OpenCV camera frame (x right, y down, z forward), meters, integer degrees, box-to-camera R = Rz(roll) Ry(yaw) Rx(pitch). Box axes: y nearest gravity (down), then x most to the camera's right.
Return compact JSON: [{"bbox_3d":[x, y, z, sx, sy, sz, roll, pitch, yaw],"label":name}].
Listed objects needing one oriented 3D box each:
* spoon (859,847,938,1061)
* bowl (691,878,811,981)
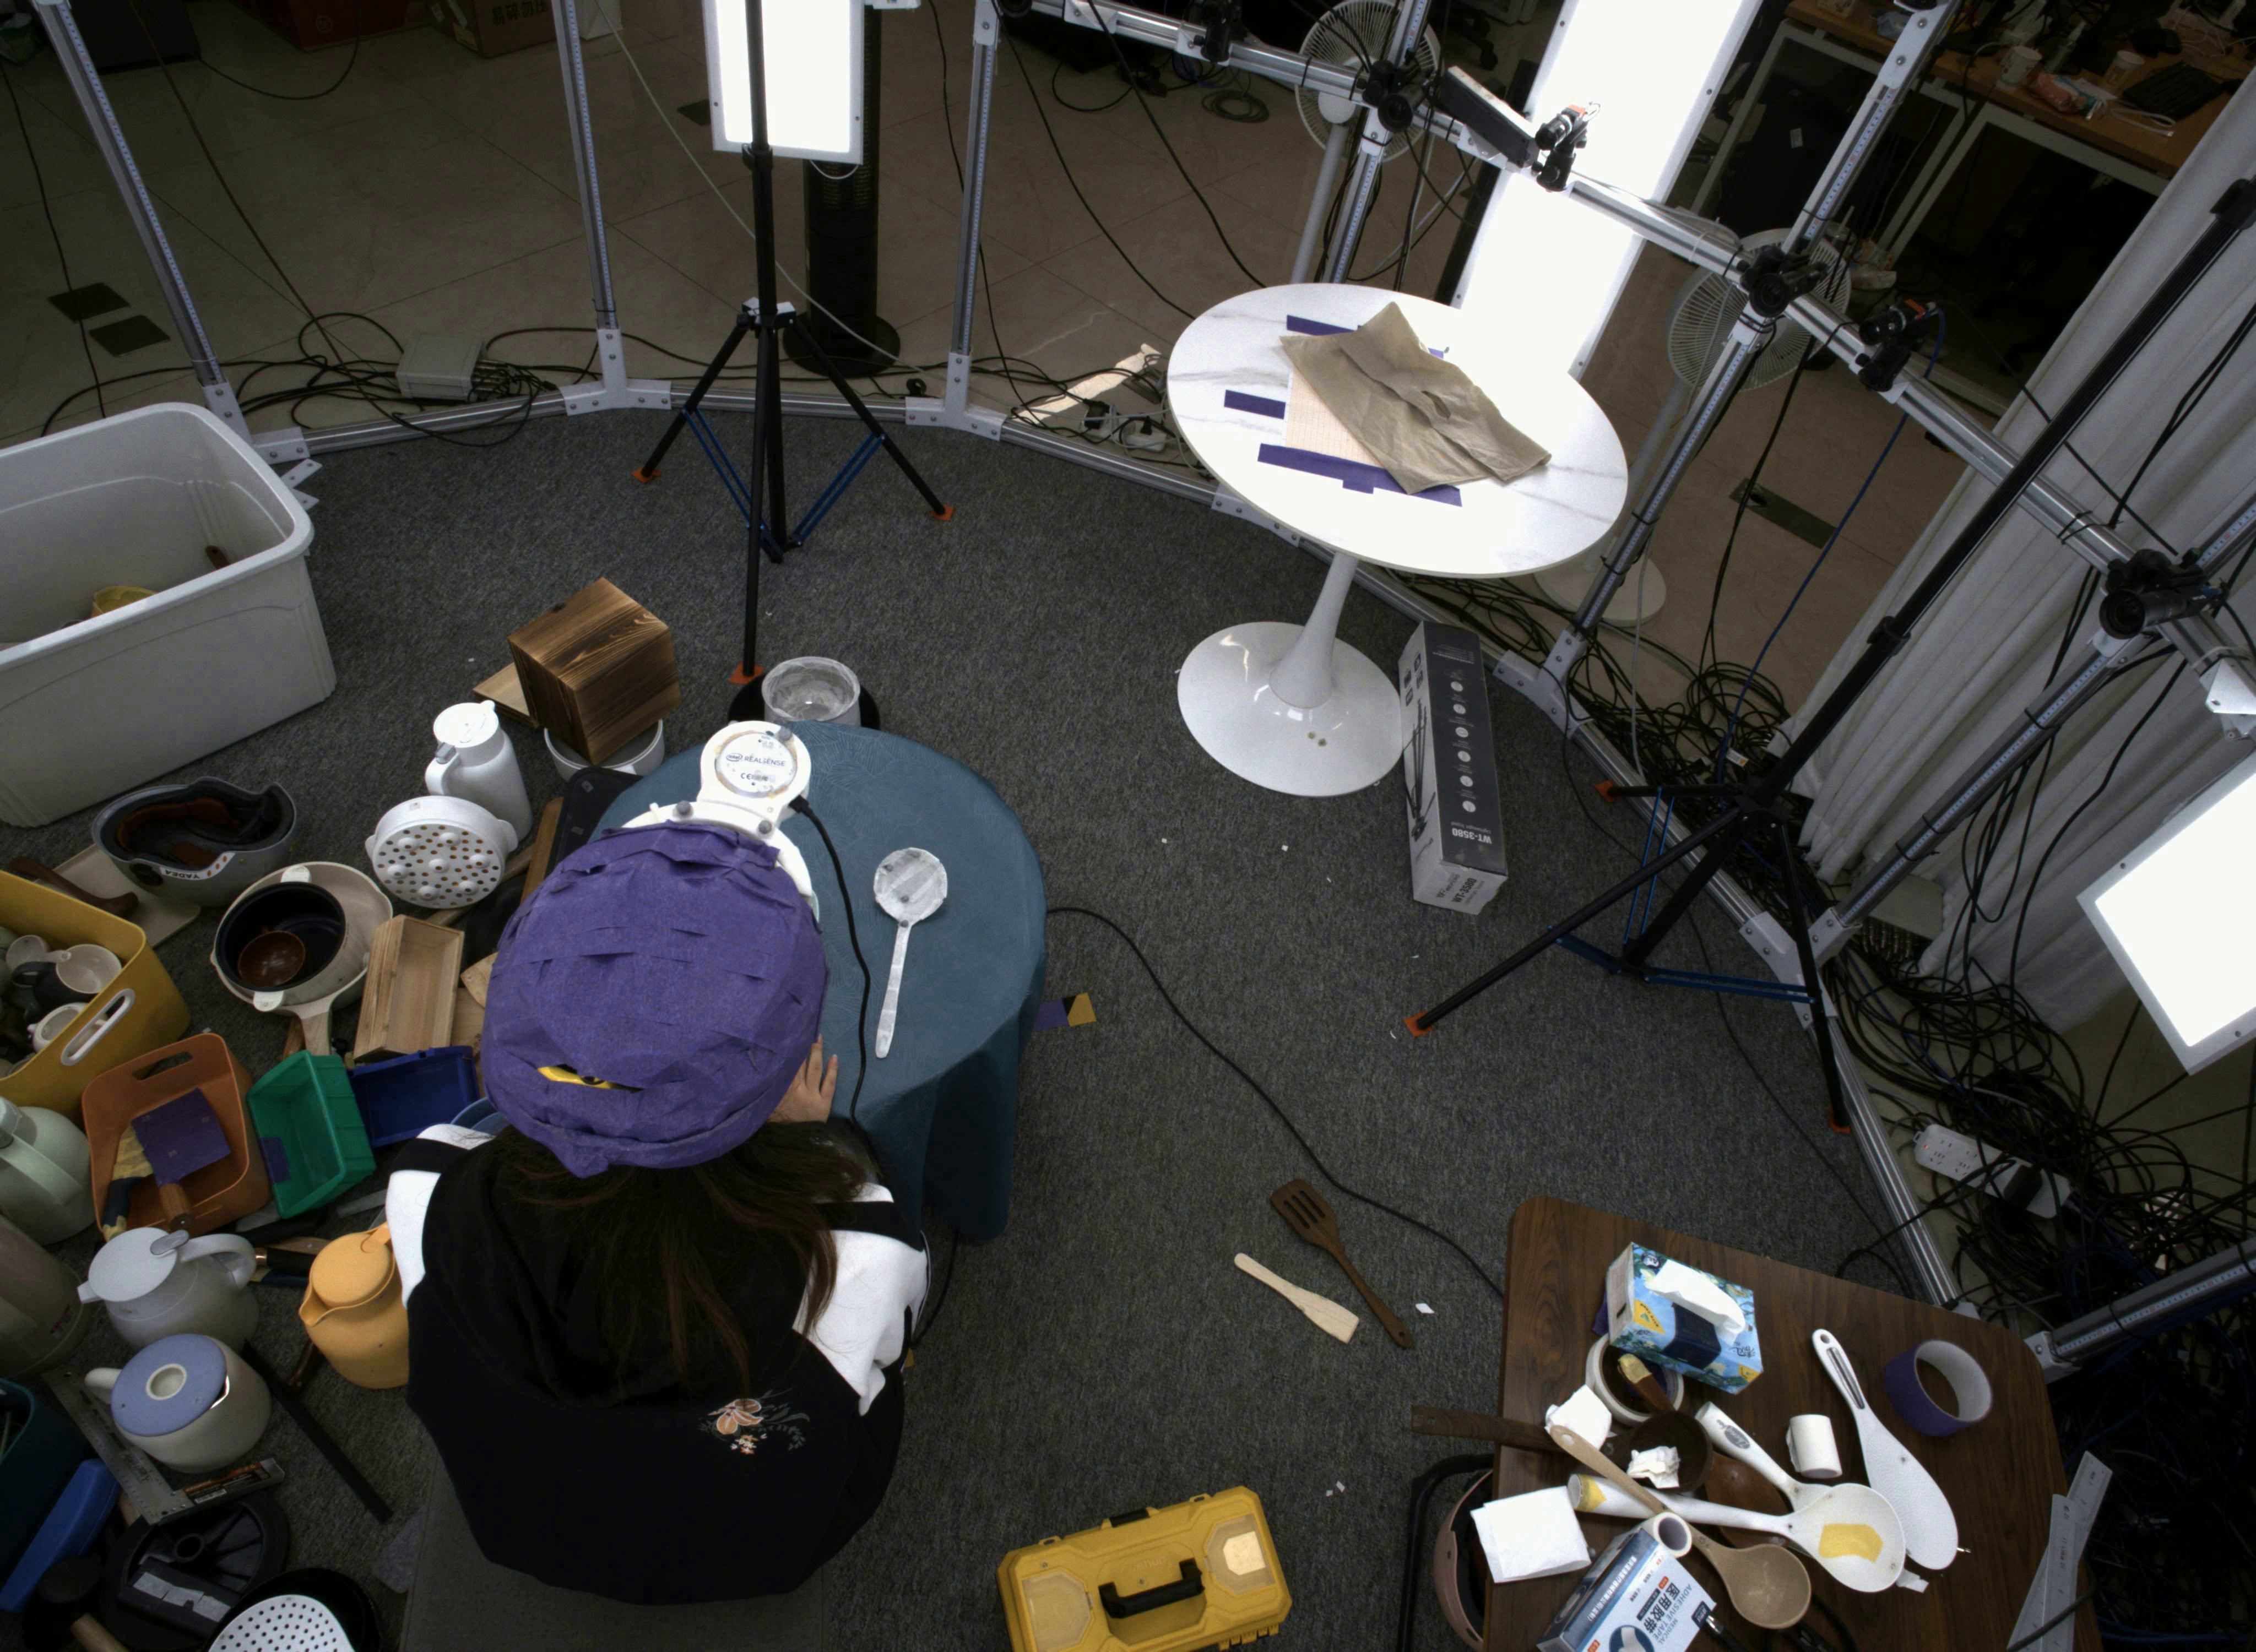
[{"bbox_3d":[-0.302,0.150,1.602,0.100,0.061,0.273,8,52,-1],"label":"spoon"},{"bbox_3d":[-0.457,0.134,1.577,0.151,0.060,0.149,8,52,-8],"label":"bowl"}]
